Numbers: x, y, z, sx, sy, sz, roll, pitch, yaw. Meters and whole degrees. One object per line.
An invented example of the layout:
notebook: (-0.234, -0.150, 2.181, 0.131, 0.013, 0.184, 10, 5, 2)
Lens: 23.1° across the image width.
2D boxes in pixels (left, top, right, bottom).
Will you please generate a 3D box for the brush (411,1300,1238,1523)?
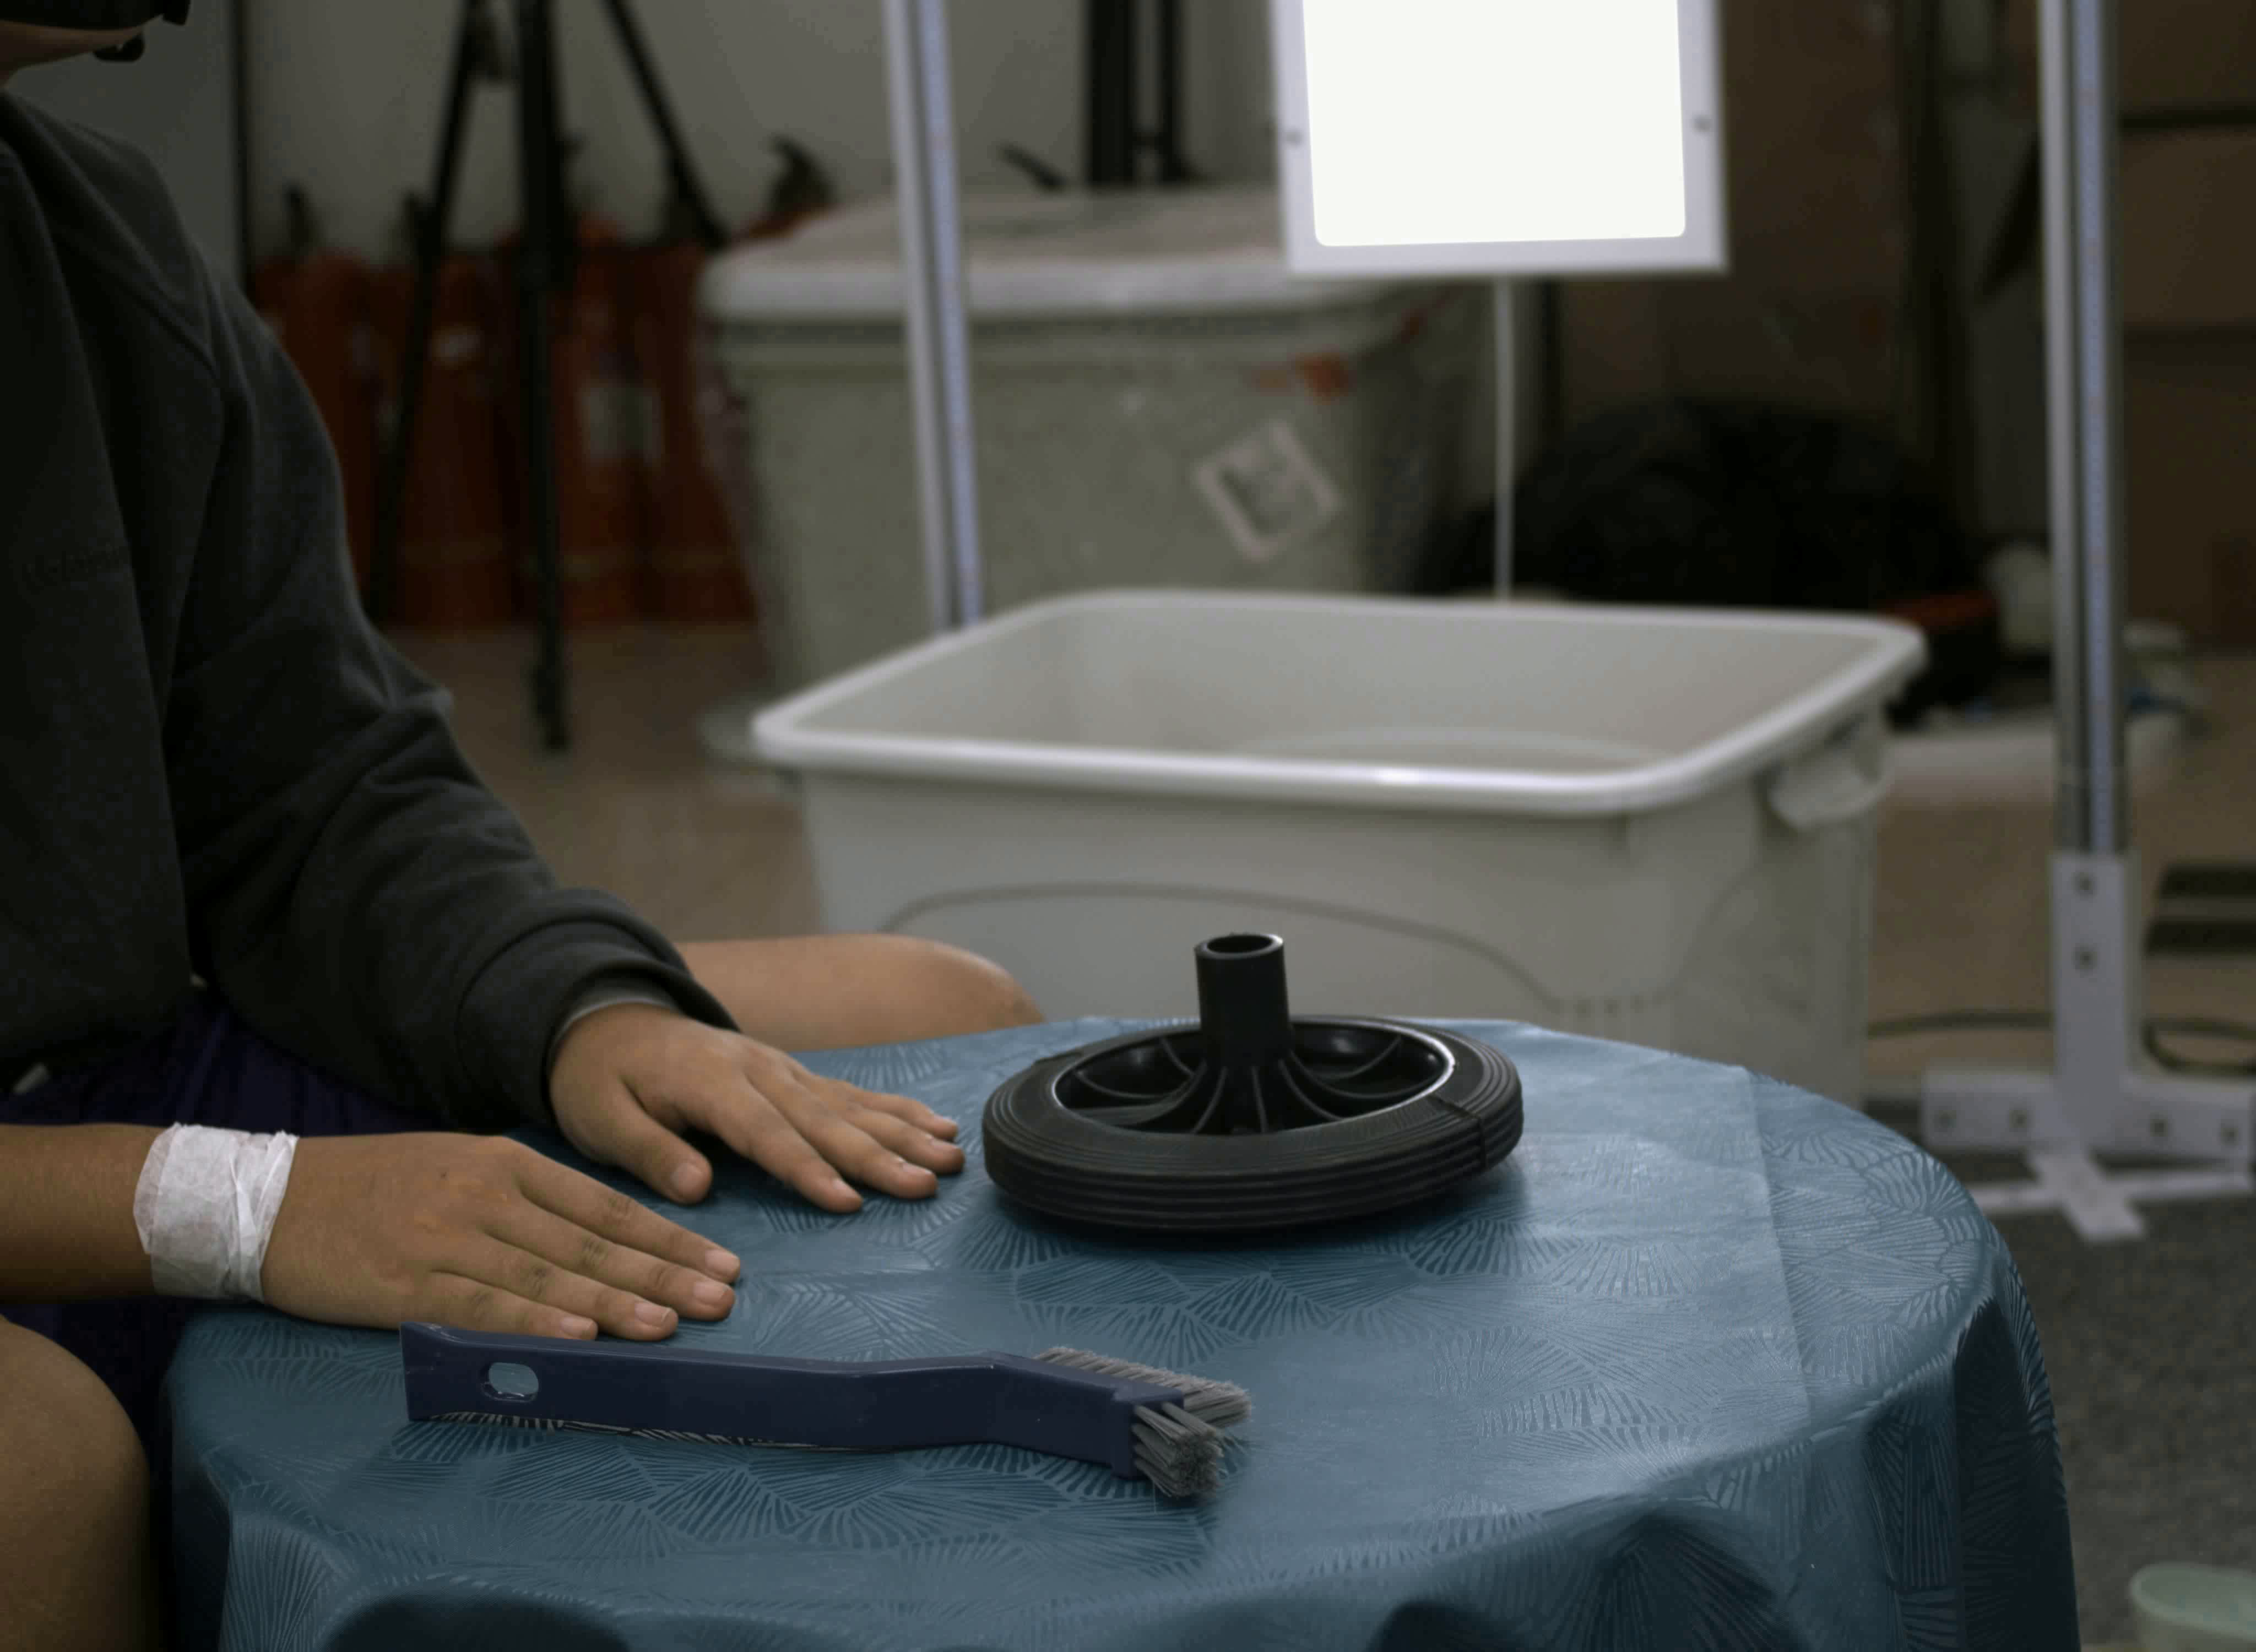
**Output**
brush: (-0.101, 0.175, 1.670, 0.276, 0.033, 0.094, 1, 15, 18)

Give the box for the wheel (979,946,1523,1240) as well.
wheel: (0.041, 0.083, 1.897, 0.187, 0.079, 0.189, -10, 15, -17)
